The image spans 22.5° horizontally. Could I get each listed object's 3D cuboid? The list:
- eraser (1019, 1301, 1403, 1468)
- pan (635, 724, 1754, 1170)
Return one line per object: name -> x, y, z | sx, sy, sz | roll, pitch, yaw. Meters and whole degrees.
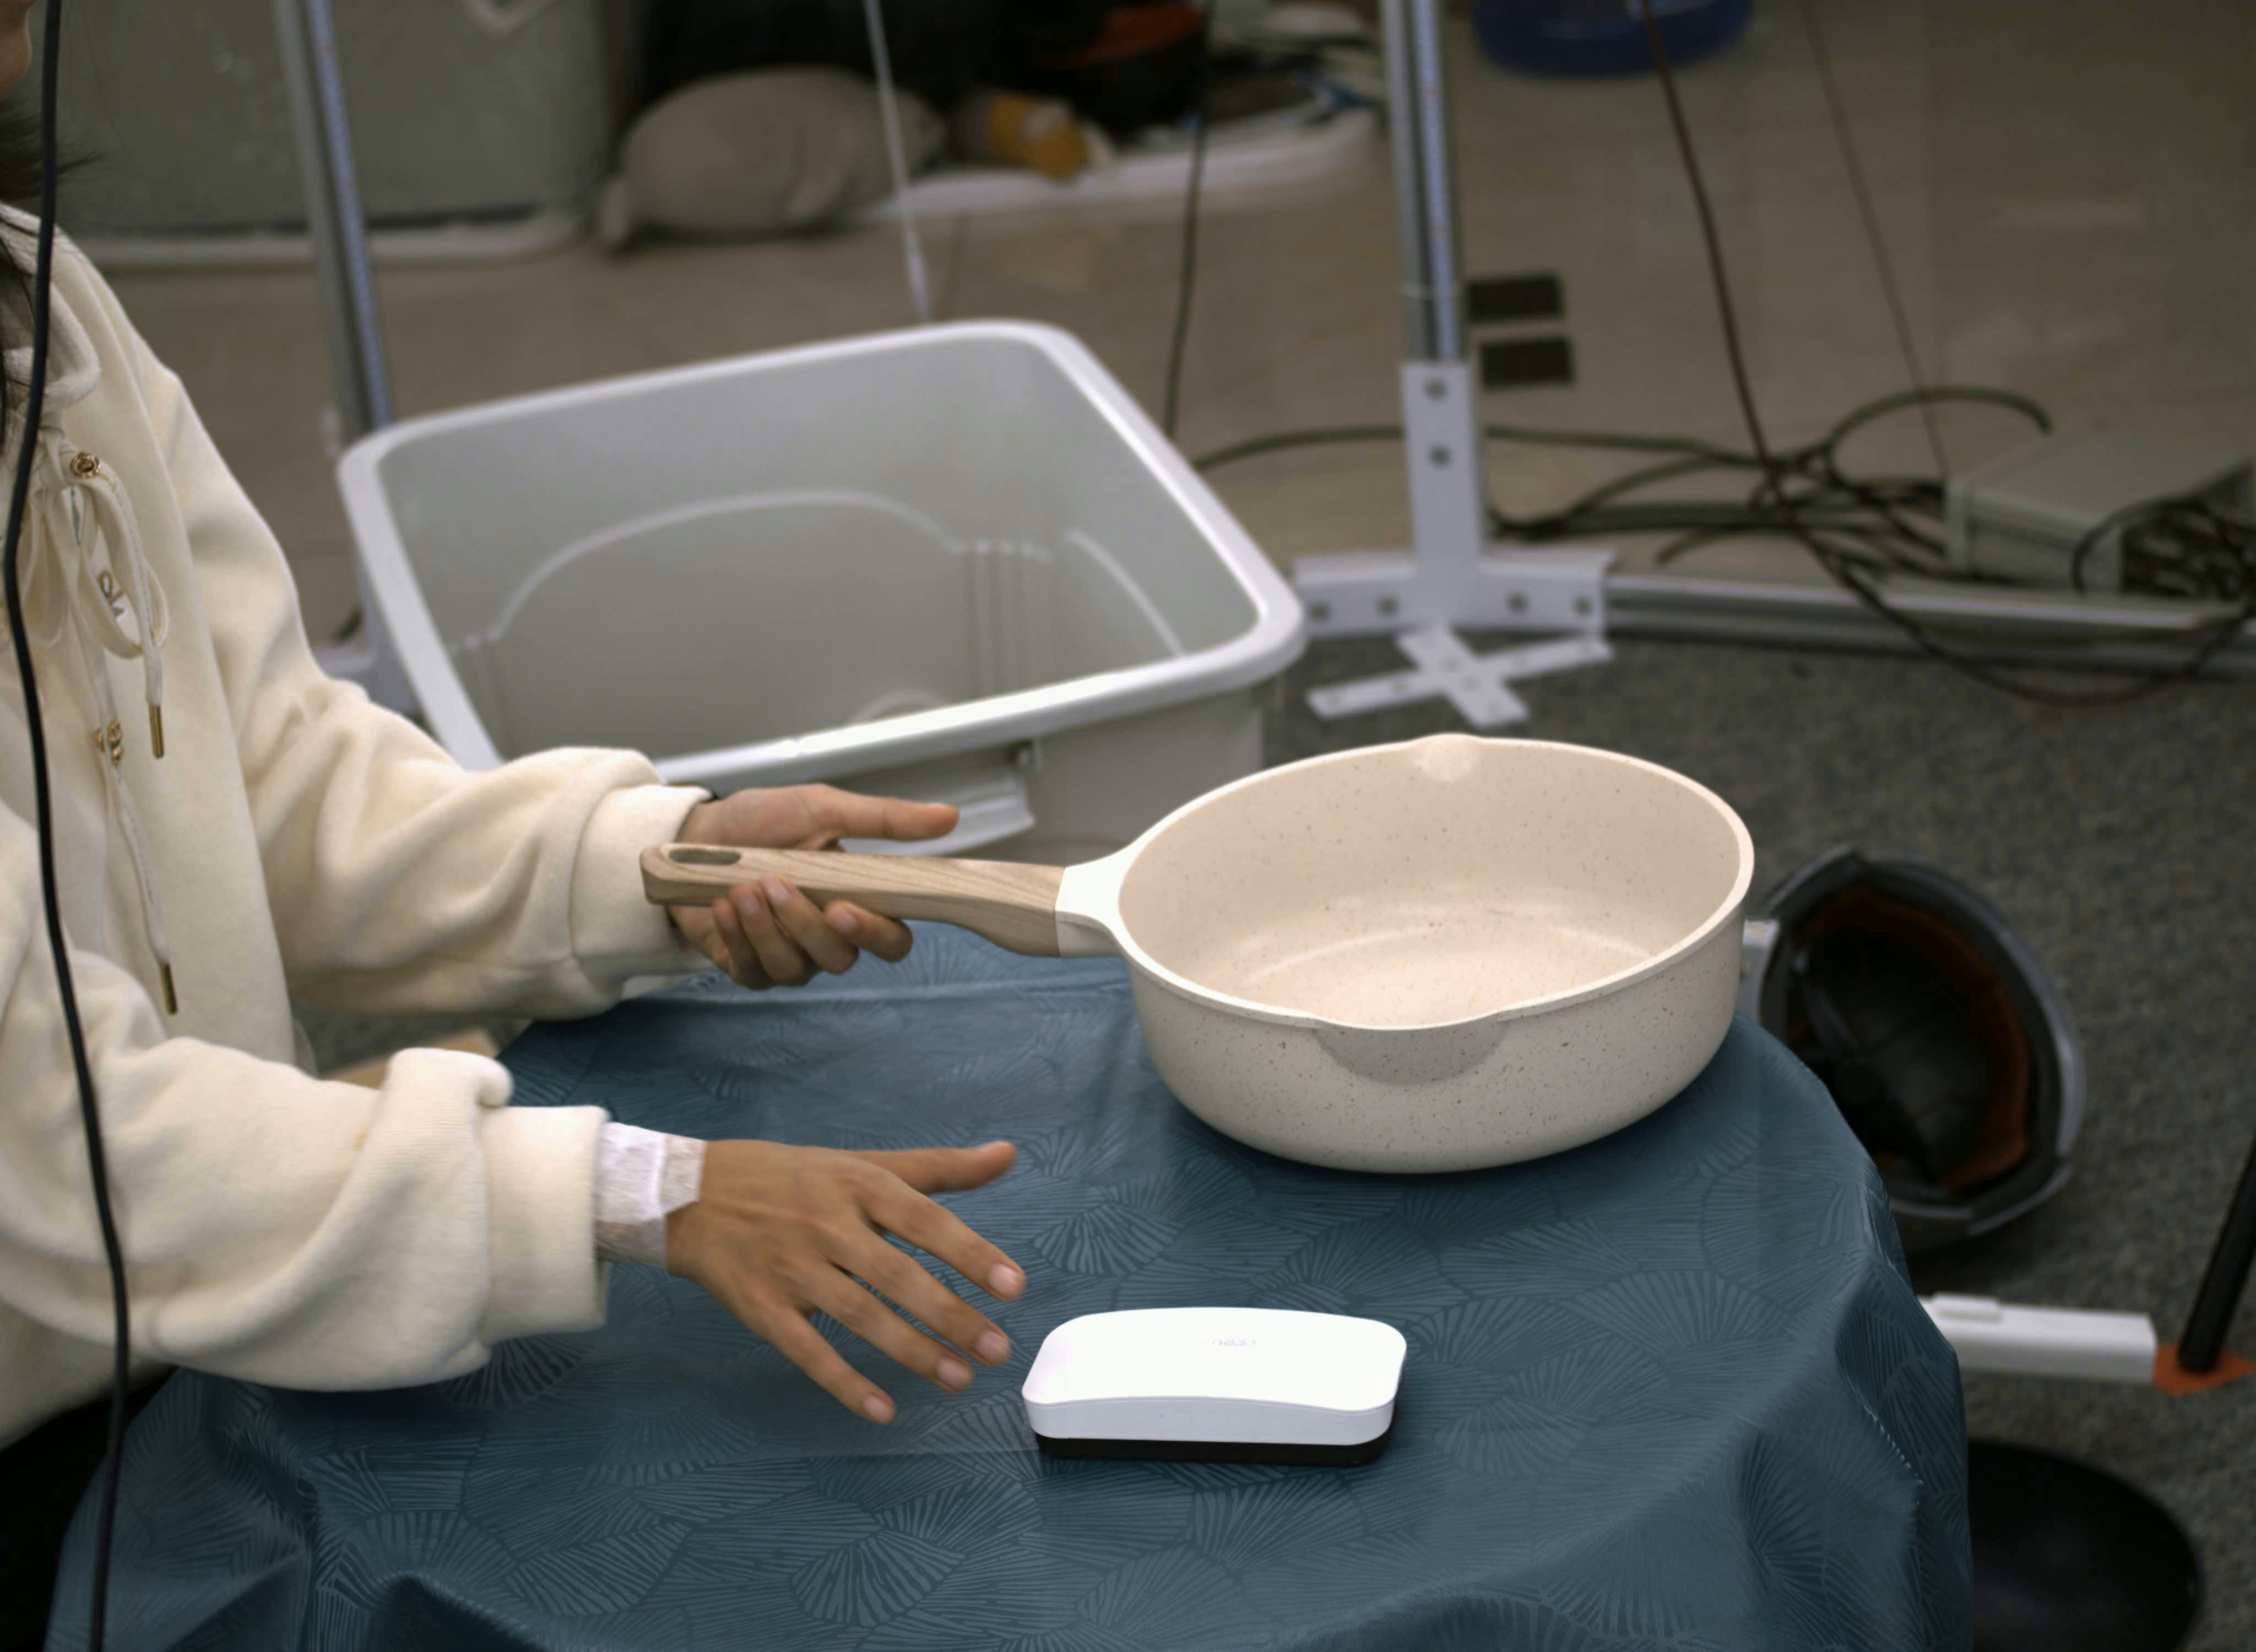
eraser -> 0.030, 0.196, 1.983 | 0.131, 0.035, 0.062 | 0, 23, 14
pan -> 0.028, 0.049, 2.213 | 0.434, 0.103, 0.259 | -3, 27, 7
